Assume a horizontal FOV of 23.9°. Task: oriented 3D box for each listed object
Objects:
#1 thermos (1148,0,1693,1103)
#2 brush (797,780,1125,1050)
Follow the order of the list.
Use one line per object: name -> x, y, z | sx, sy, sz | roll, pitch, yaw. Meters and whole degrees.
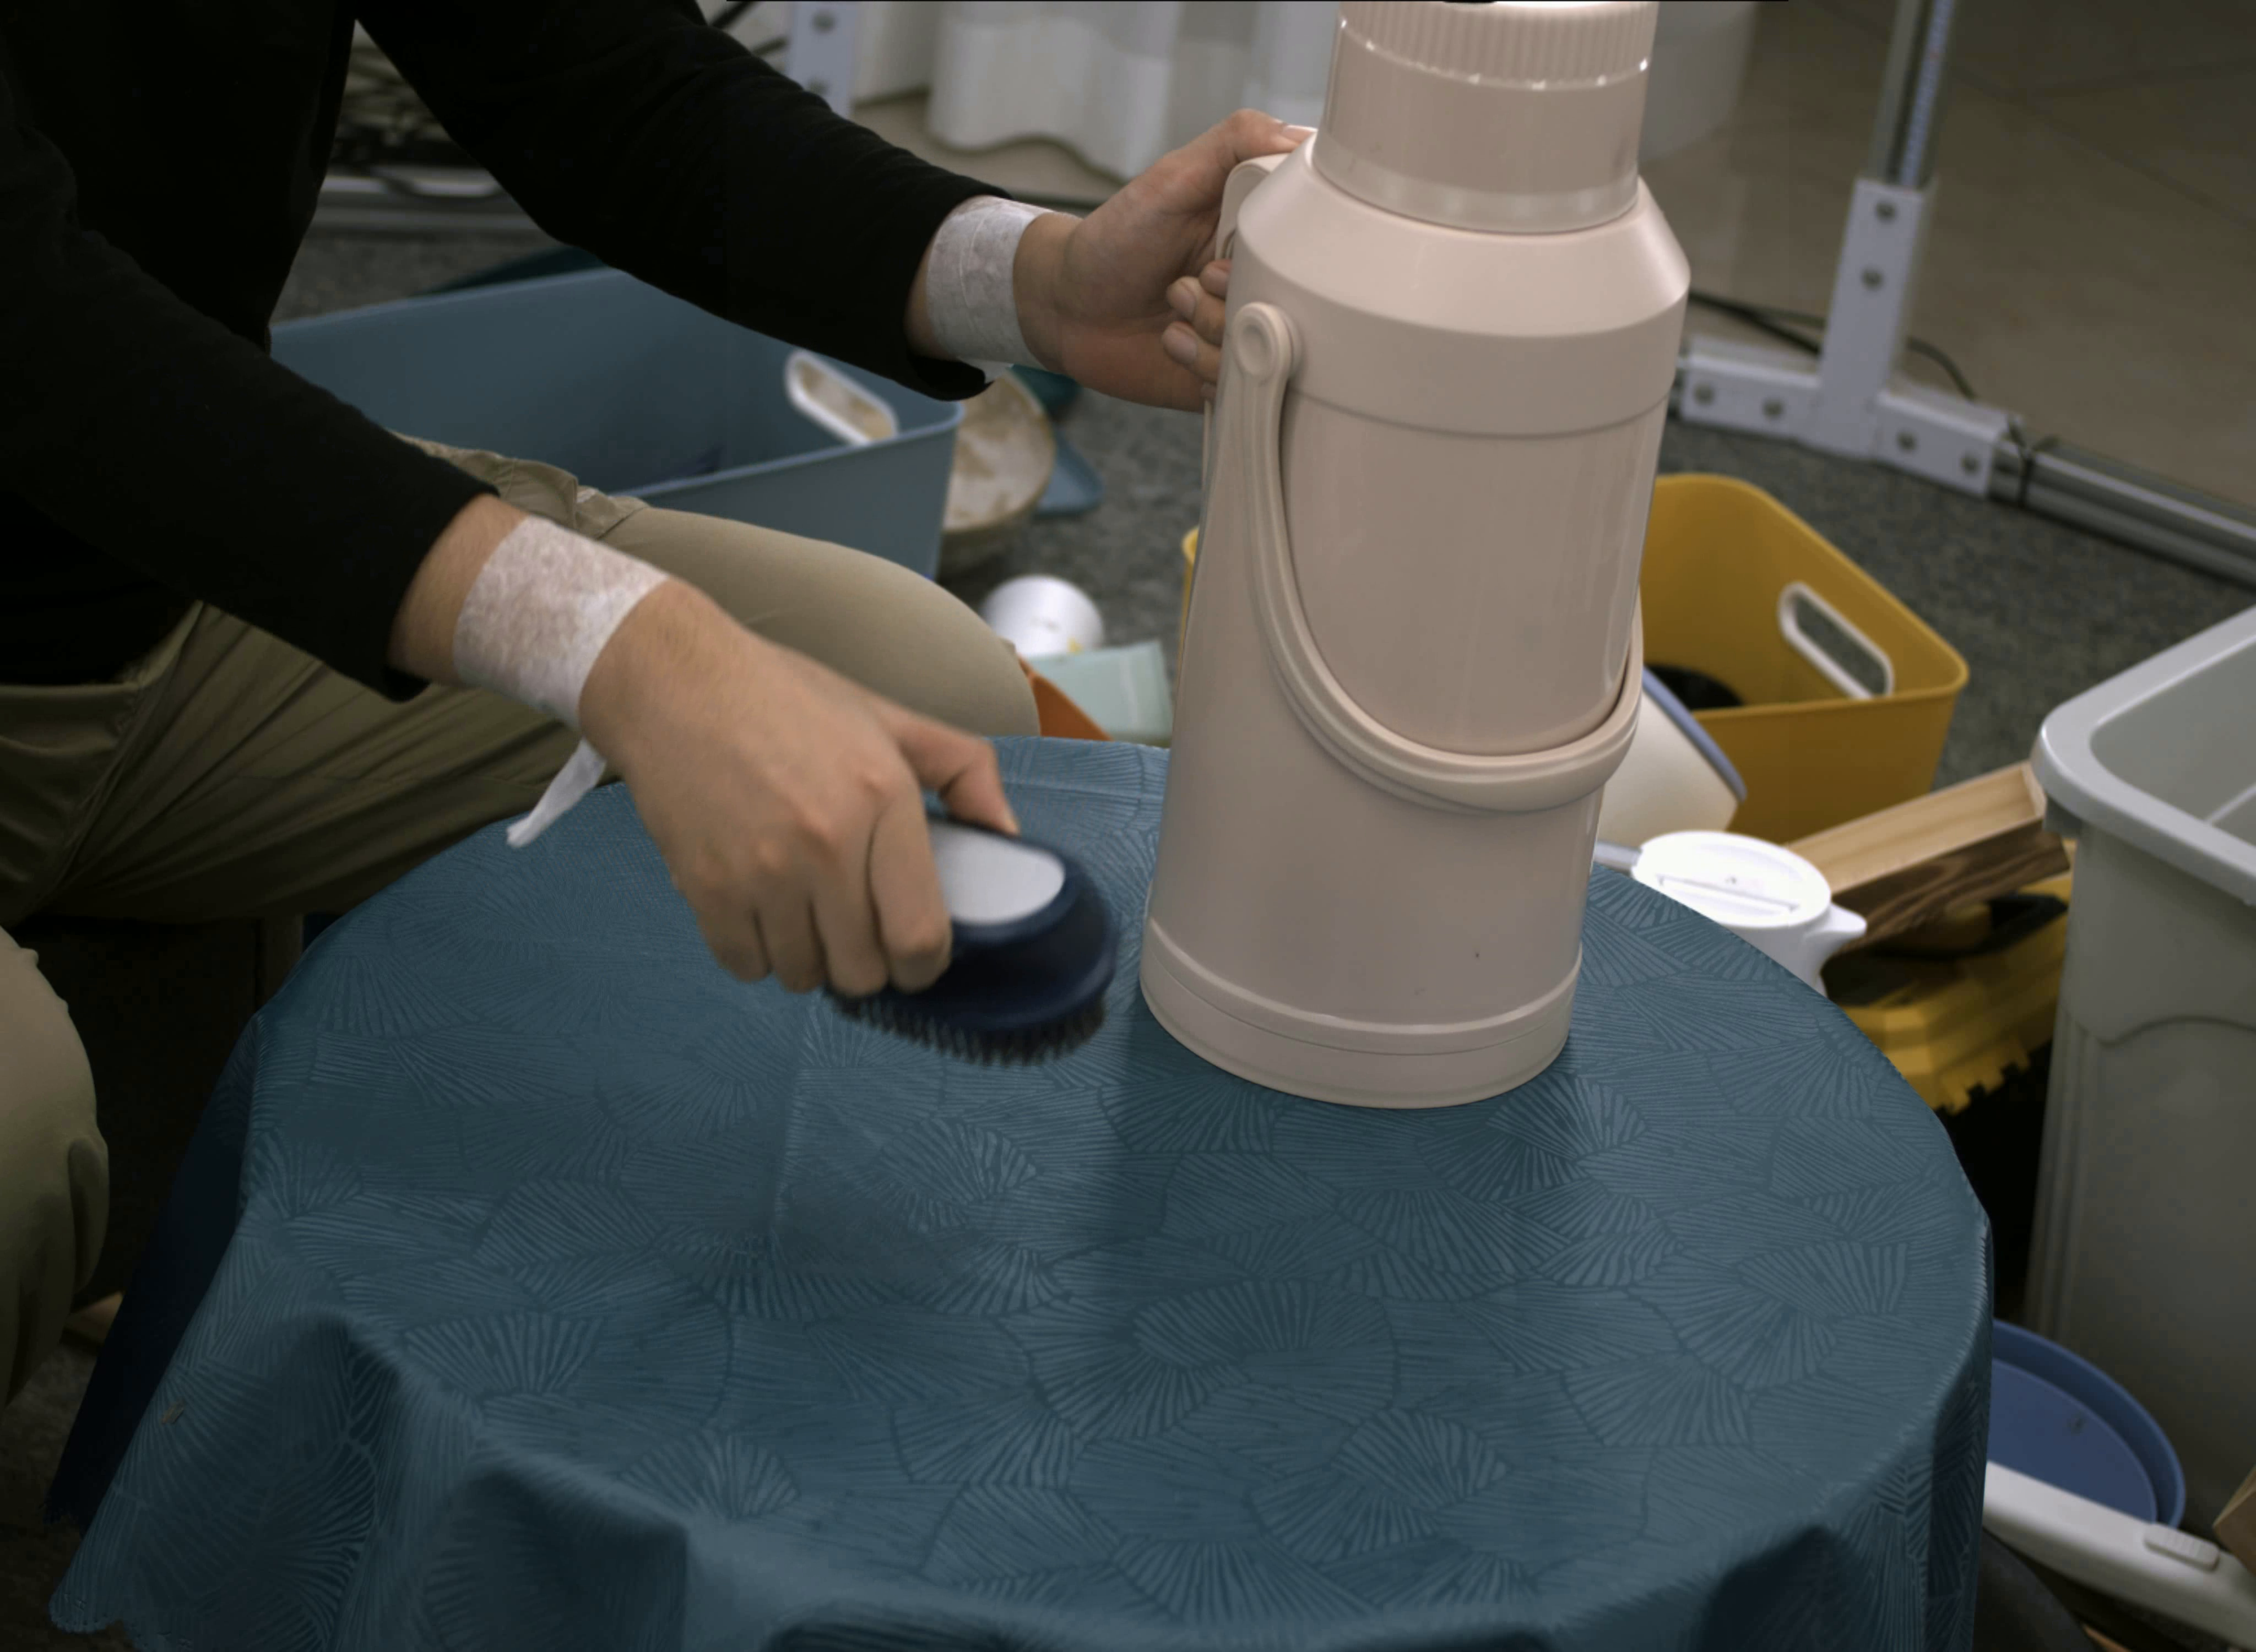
thermos -> 0.097, -0.119, 1.864 | 0.174, 0.405, 0.209 | -15, 34, -34
brush -> -0.055, 0.030, 1.720 | 0.122, 0.061, 0.068 | 20, 43, 39
